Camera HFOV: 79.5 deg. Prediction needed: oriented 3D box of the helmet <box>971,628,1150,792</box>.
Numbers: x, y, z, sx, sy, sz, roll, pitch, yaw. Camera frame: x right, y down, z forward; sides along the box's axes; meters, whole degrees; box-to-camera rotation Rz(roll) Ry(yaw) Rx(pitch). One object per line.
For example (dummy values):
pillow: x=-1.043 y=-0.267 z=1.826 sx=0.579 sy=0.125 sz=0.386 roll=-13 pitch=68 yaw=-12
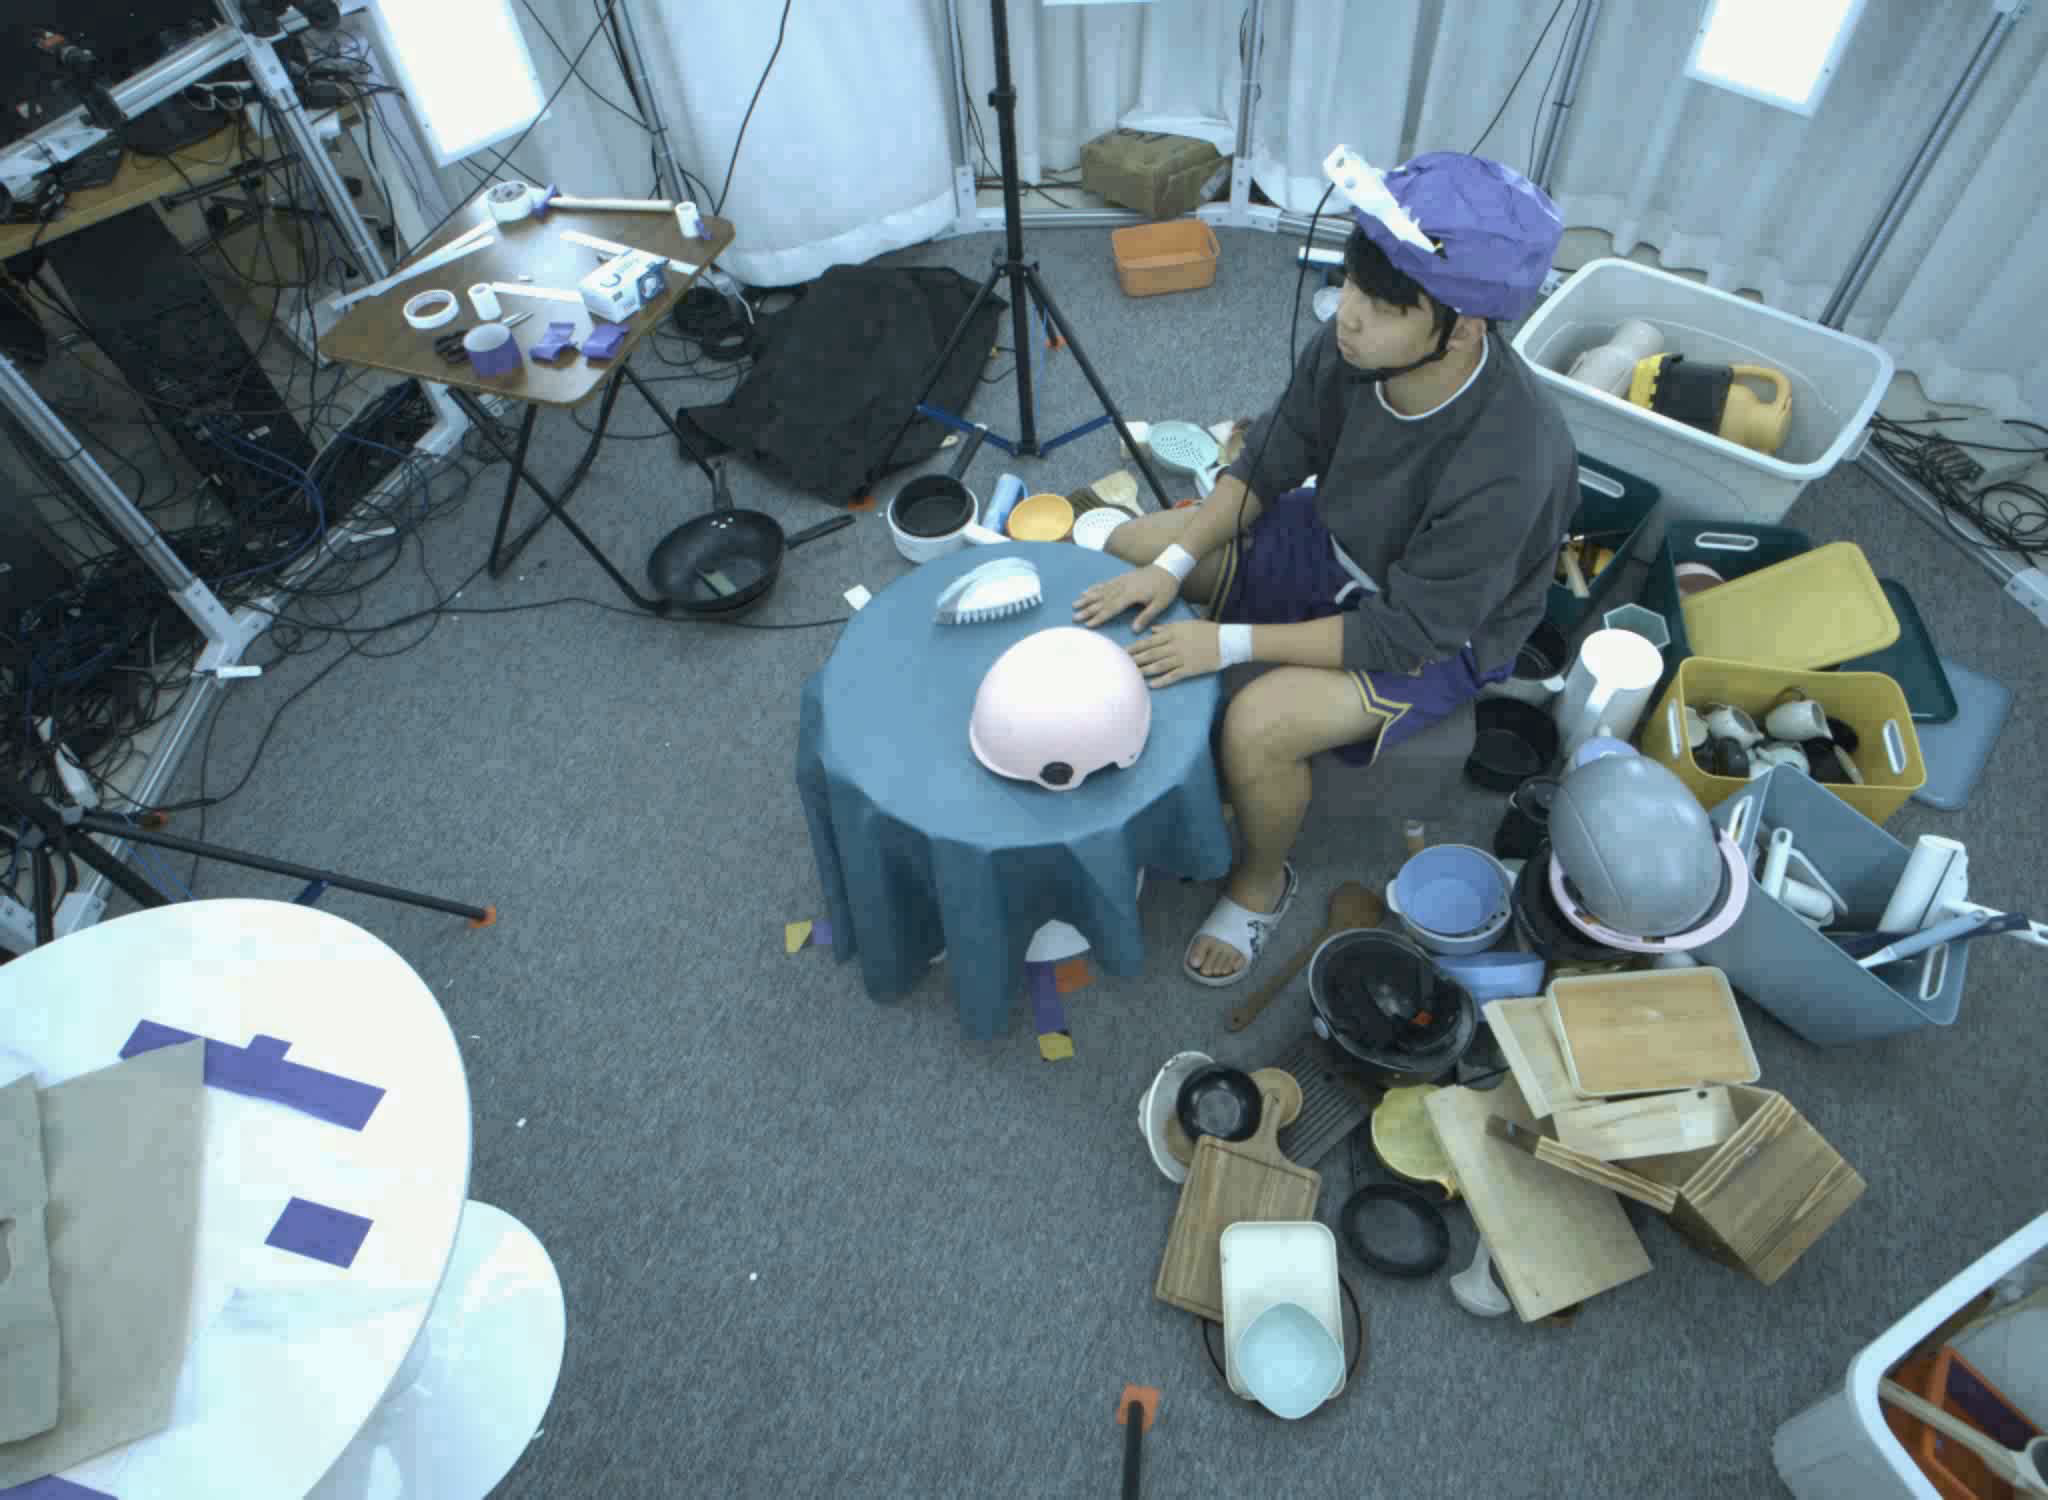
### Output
helmet: x=0.045 y=-0.077 z=1.750 sx=0.266 sy=0.161 sz=0.230 roll=-14 pitch=56 yaw=-3

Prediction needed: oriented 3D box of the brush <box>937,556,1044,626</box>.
brush: x=-0.058 y=-0.250 z=1.913 sx=0.176 sy=0.095 sz=0.060 roll=-19 pitch=54 yaw=-9
